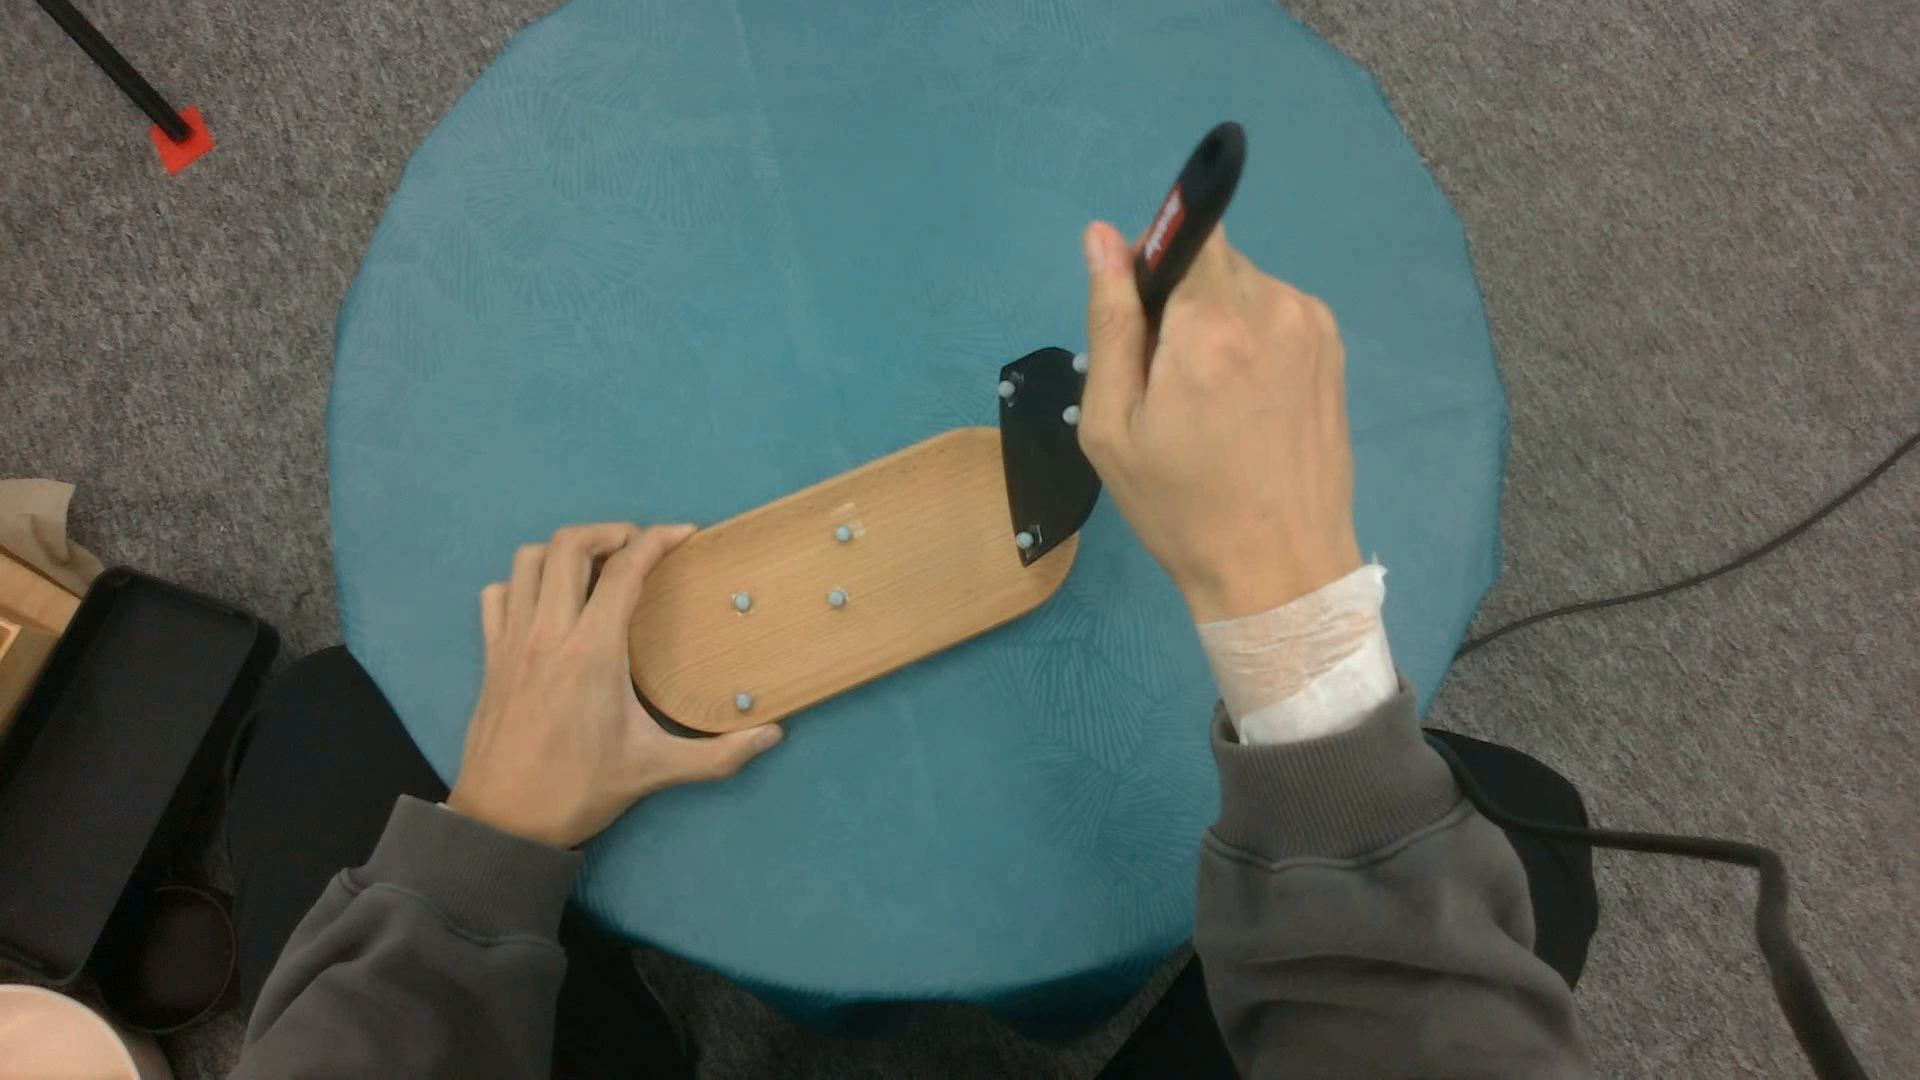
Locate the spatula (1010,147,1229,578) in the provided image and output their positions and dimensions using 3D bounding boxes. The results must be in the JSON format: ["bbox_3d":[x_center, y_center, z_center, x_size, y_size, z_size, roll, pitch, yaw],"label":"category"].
[{"bbox_3d":[0.050,-0.063,0.518,0.040,0.325,0.100,-8,78,-3],"label":"spatula"}]

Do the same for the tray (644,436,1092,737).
[{"bbox_3d":[-0.044,0.022,0.687,0.231,0.020,0.102,-22,75,-7],"label":"tray"}]
